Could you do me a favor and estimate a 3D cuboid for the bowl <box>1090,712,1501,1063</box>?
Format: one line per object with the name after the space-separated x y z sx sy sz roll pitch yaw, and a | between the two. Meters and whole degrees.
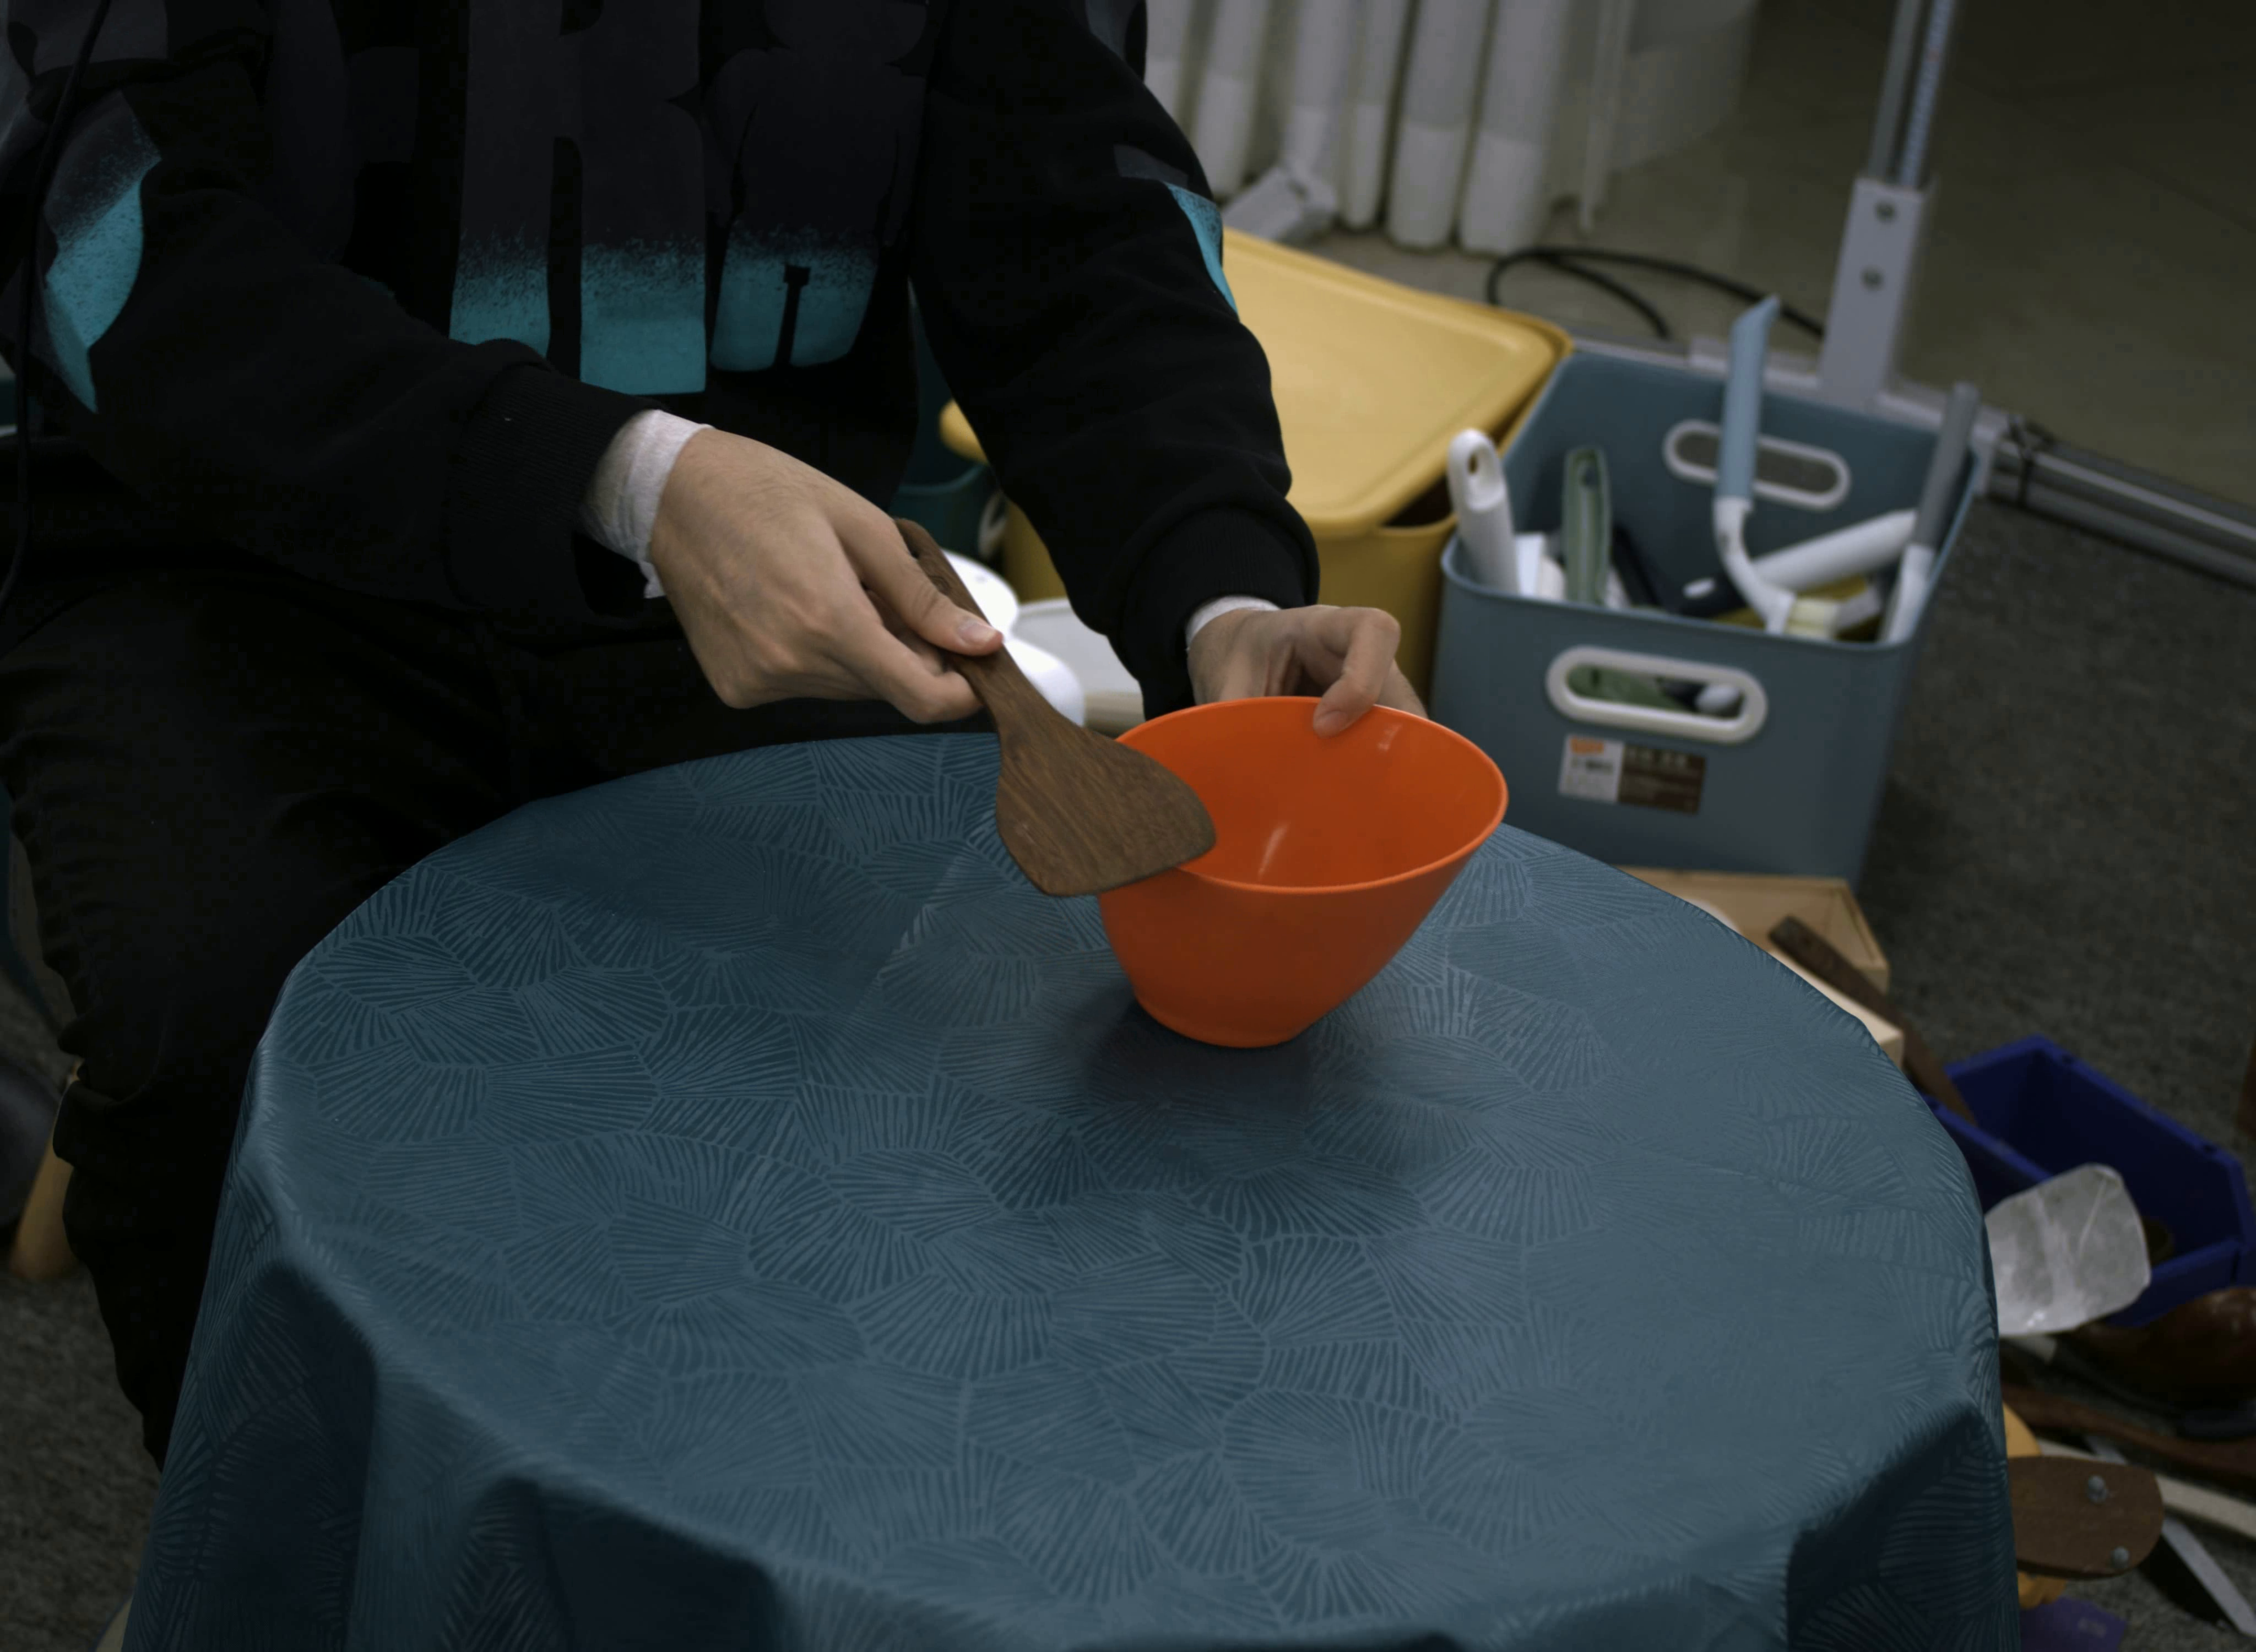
0.052 0.027 1.892 0.147 0.104 0.149 6 29 -4 | bowl

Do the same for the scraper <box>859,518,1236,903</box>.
-0.040 -0.044 1.870 0.075 0.011 0.213 -17 46 -22 | scraper
